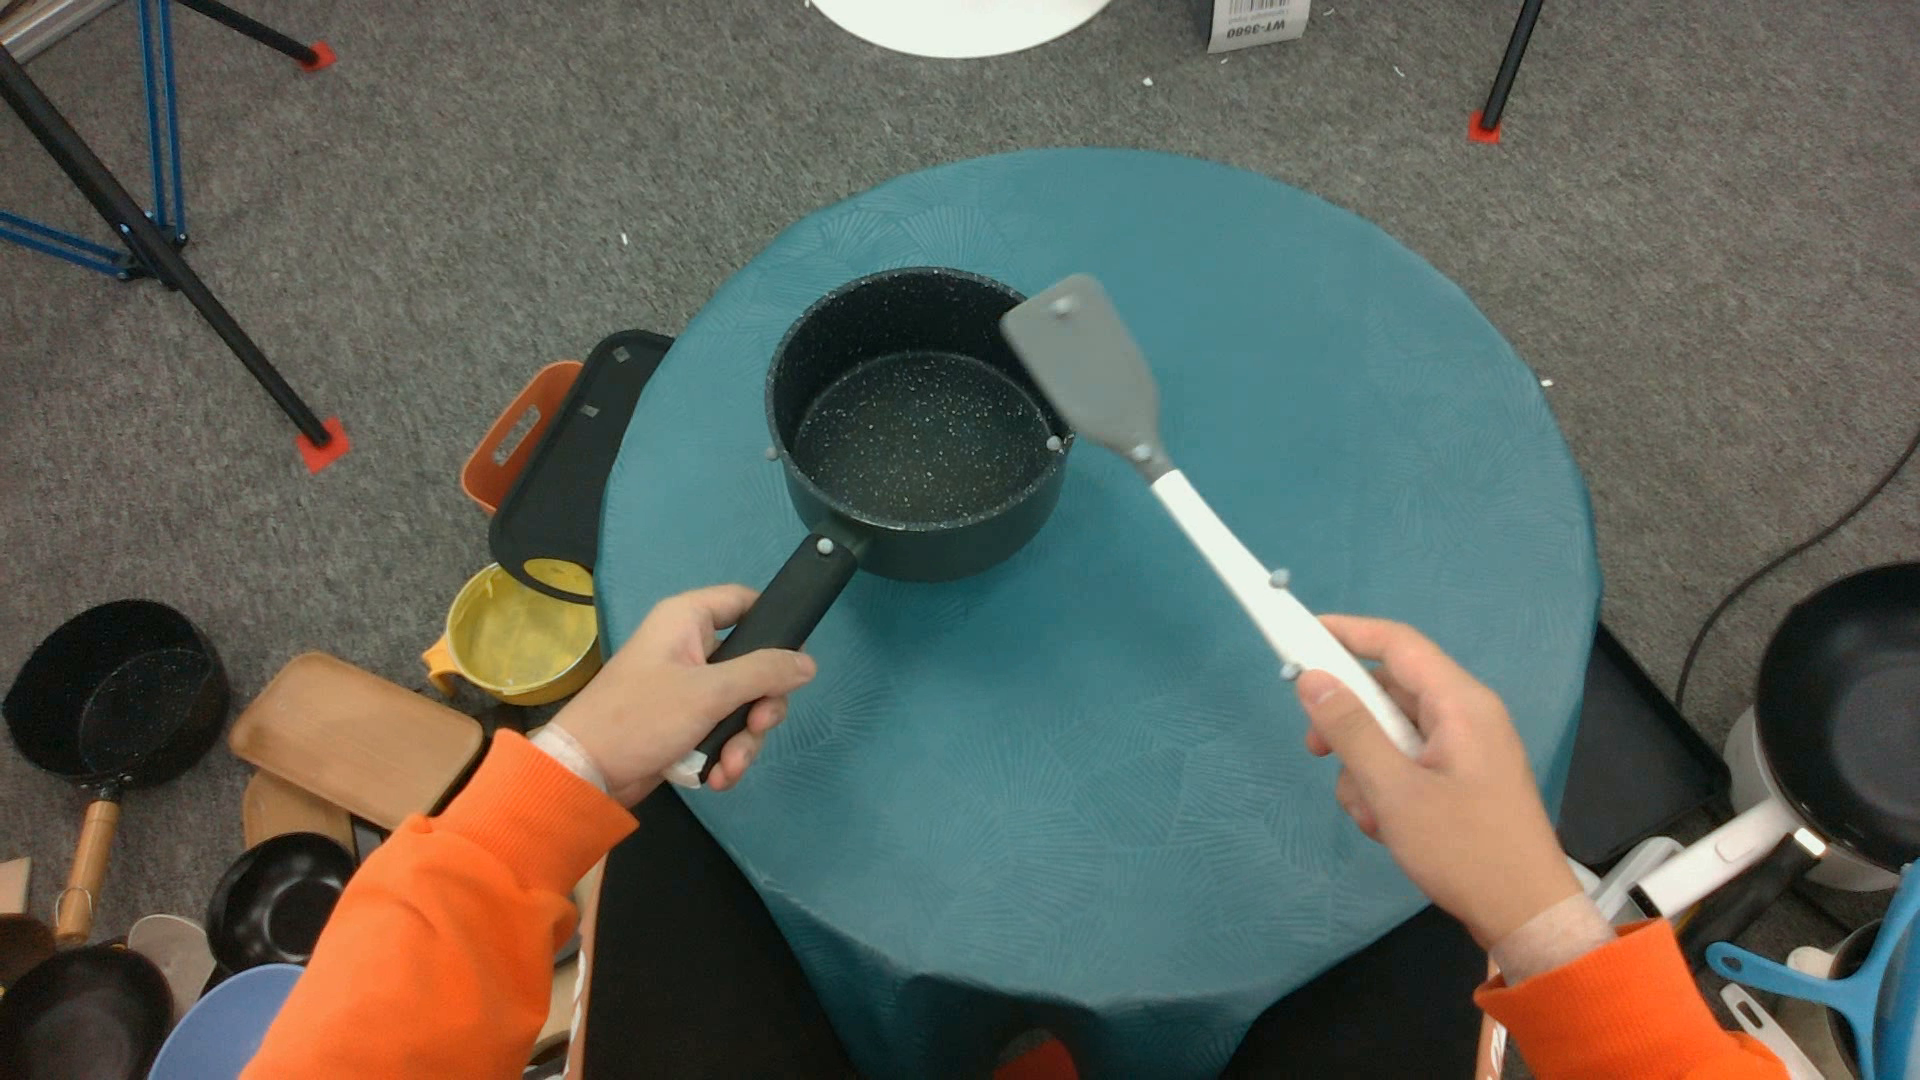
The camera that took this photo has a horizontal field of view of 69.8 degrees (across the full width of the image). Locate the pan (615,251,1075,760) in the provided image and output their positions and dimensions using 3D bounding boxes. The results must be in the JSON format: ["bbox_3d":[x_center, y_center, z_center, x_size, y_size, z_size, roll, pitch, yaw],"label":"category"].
[{"bbox_3d":[-0.063,-0.011,0.731,0.172,0.086,0.330,27,63,14],"label":"pan"}]

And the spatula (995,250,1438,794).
[{"bbox_3d":[0.112,-0.013,0.626,0.059,0.032,0.288,-32,73,-6],"label":"spatula"}]
